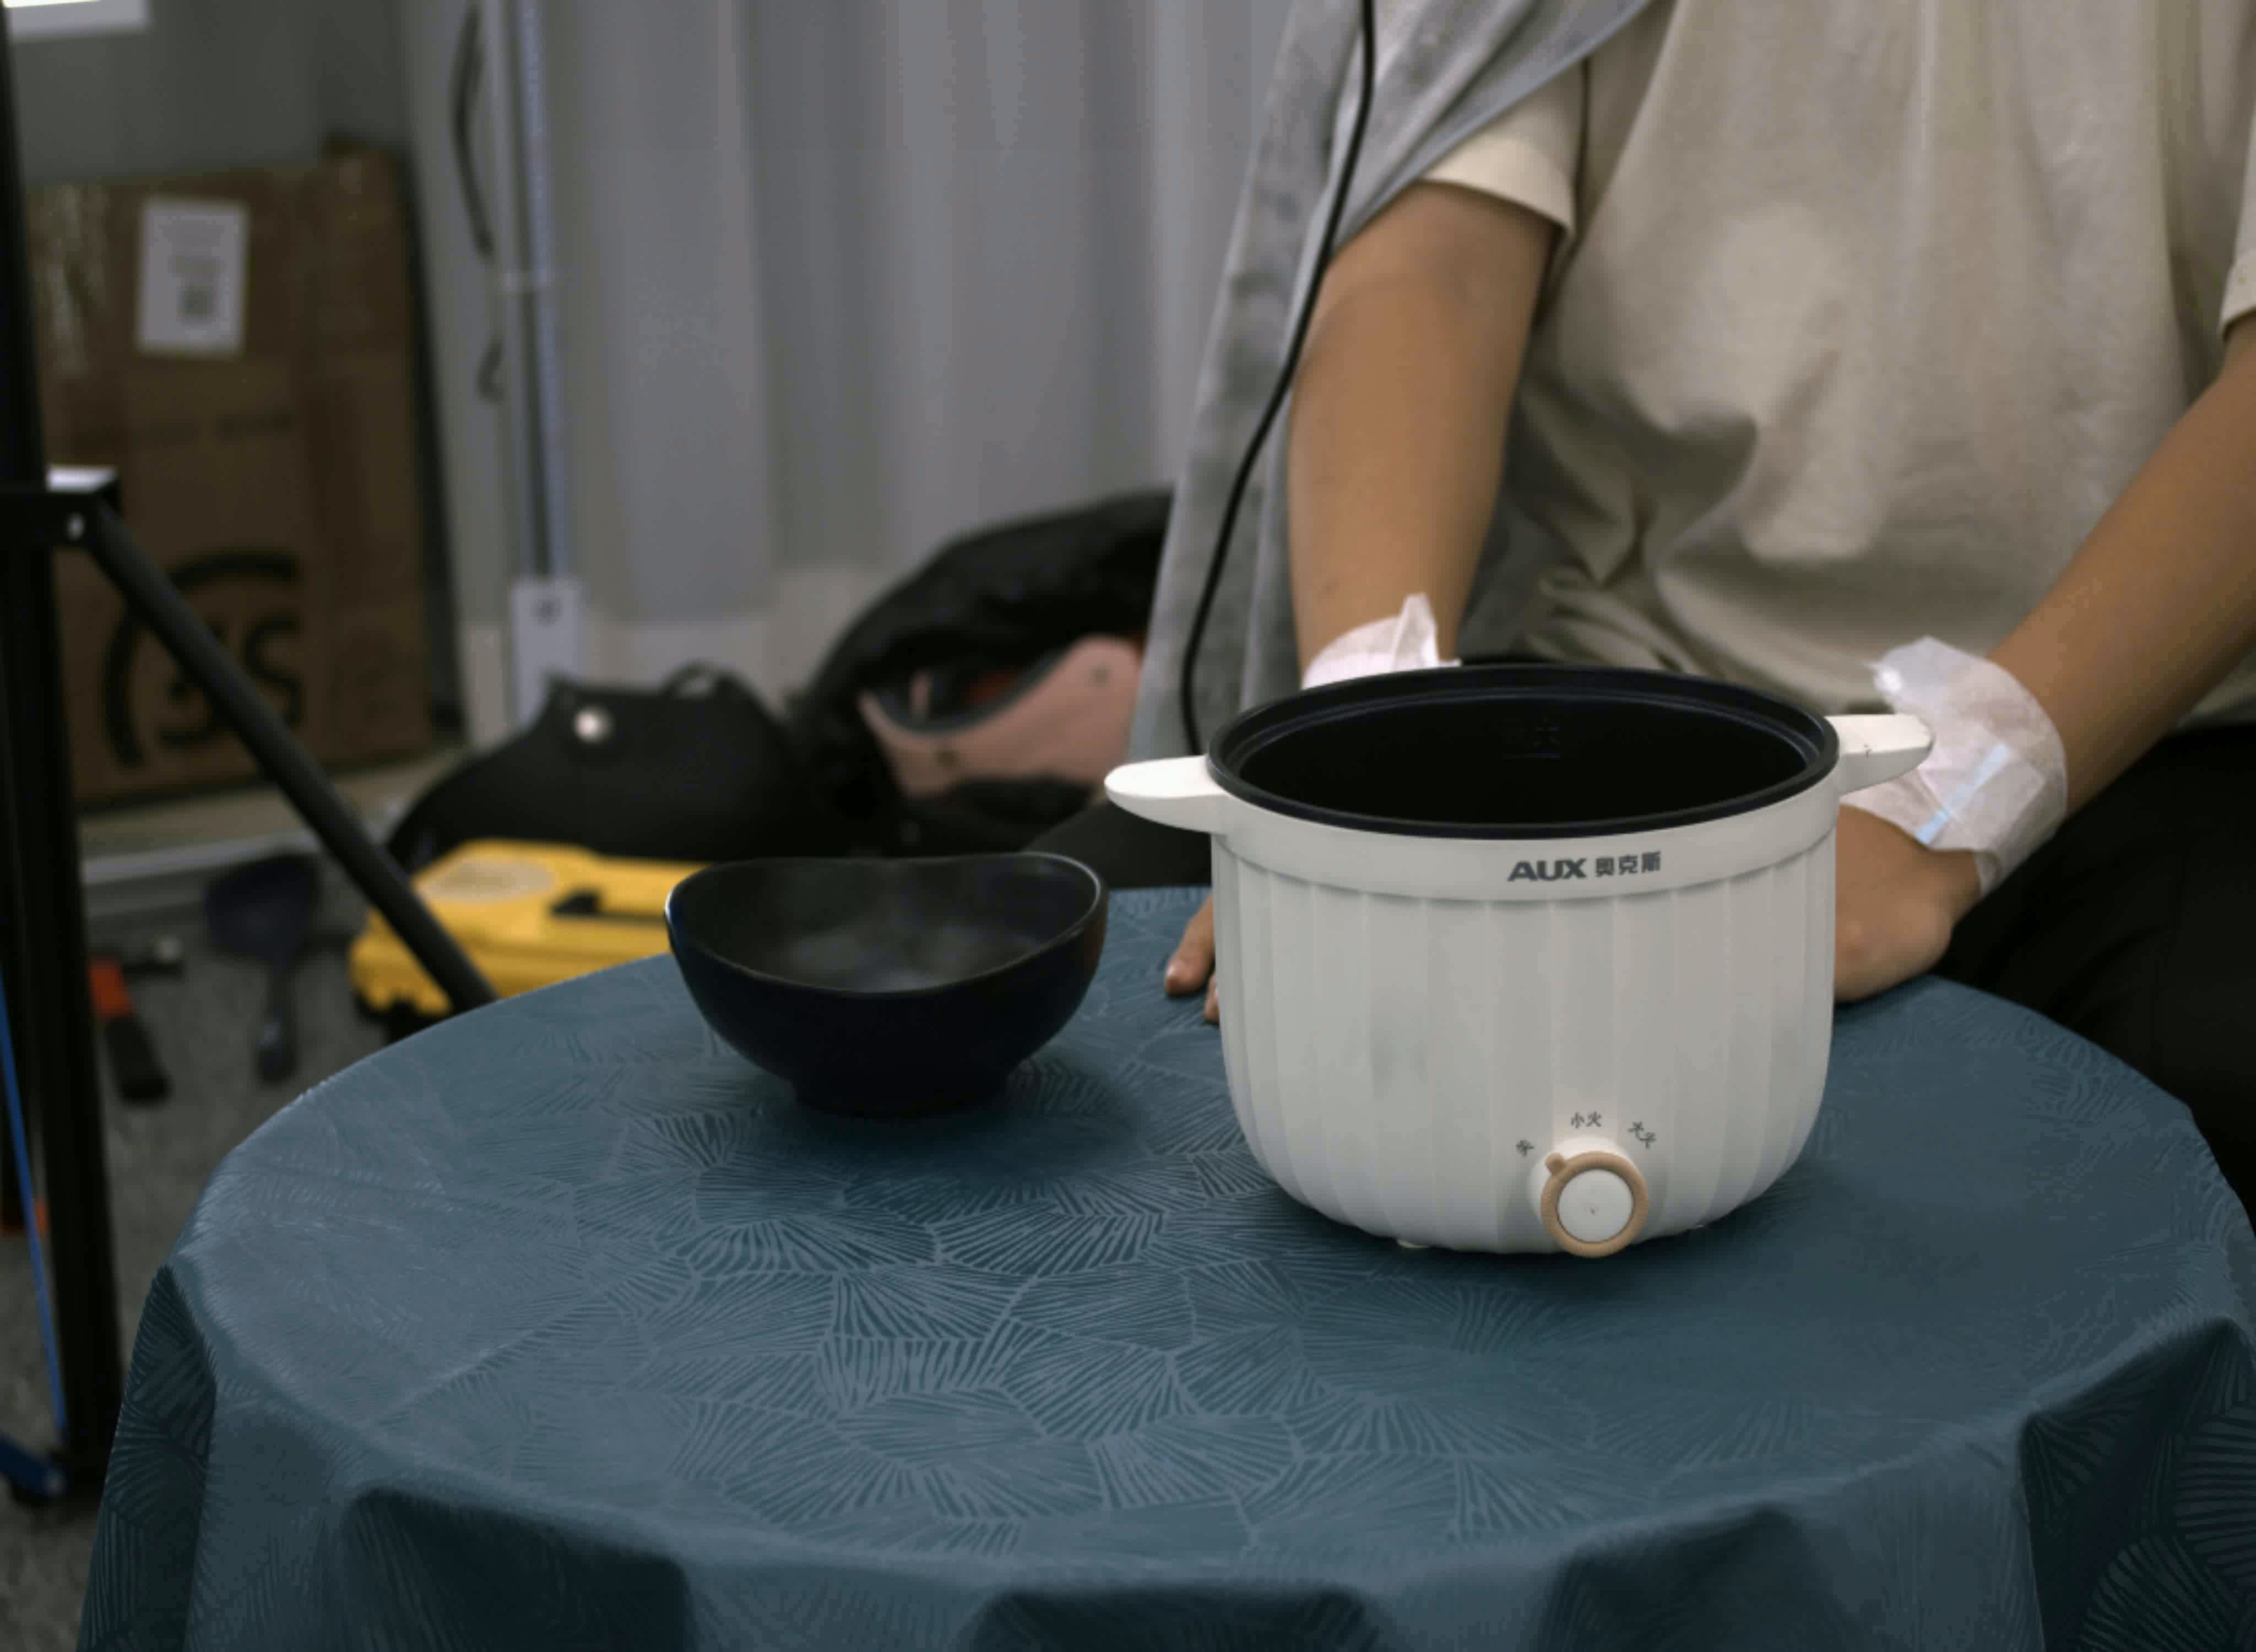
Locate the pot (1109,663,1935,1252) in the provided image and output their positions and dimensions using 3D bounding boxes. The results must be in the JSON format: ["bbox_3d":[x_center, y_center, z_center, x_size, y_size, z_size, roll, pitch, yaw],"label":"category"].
[{"bbox_3d":[0.117,0.040,1.522,0.238,0.143,0.192,-5,12,-5],"label":"pot"}]

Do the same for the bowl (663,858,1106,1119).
[{"bbox_3d":[-0.075,0.051,1.653,0.137,0.067,0.171,-1,14,1],"label":"bowl"}]
